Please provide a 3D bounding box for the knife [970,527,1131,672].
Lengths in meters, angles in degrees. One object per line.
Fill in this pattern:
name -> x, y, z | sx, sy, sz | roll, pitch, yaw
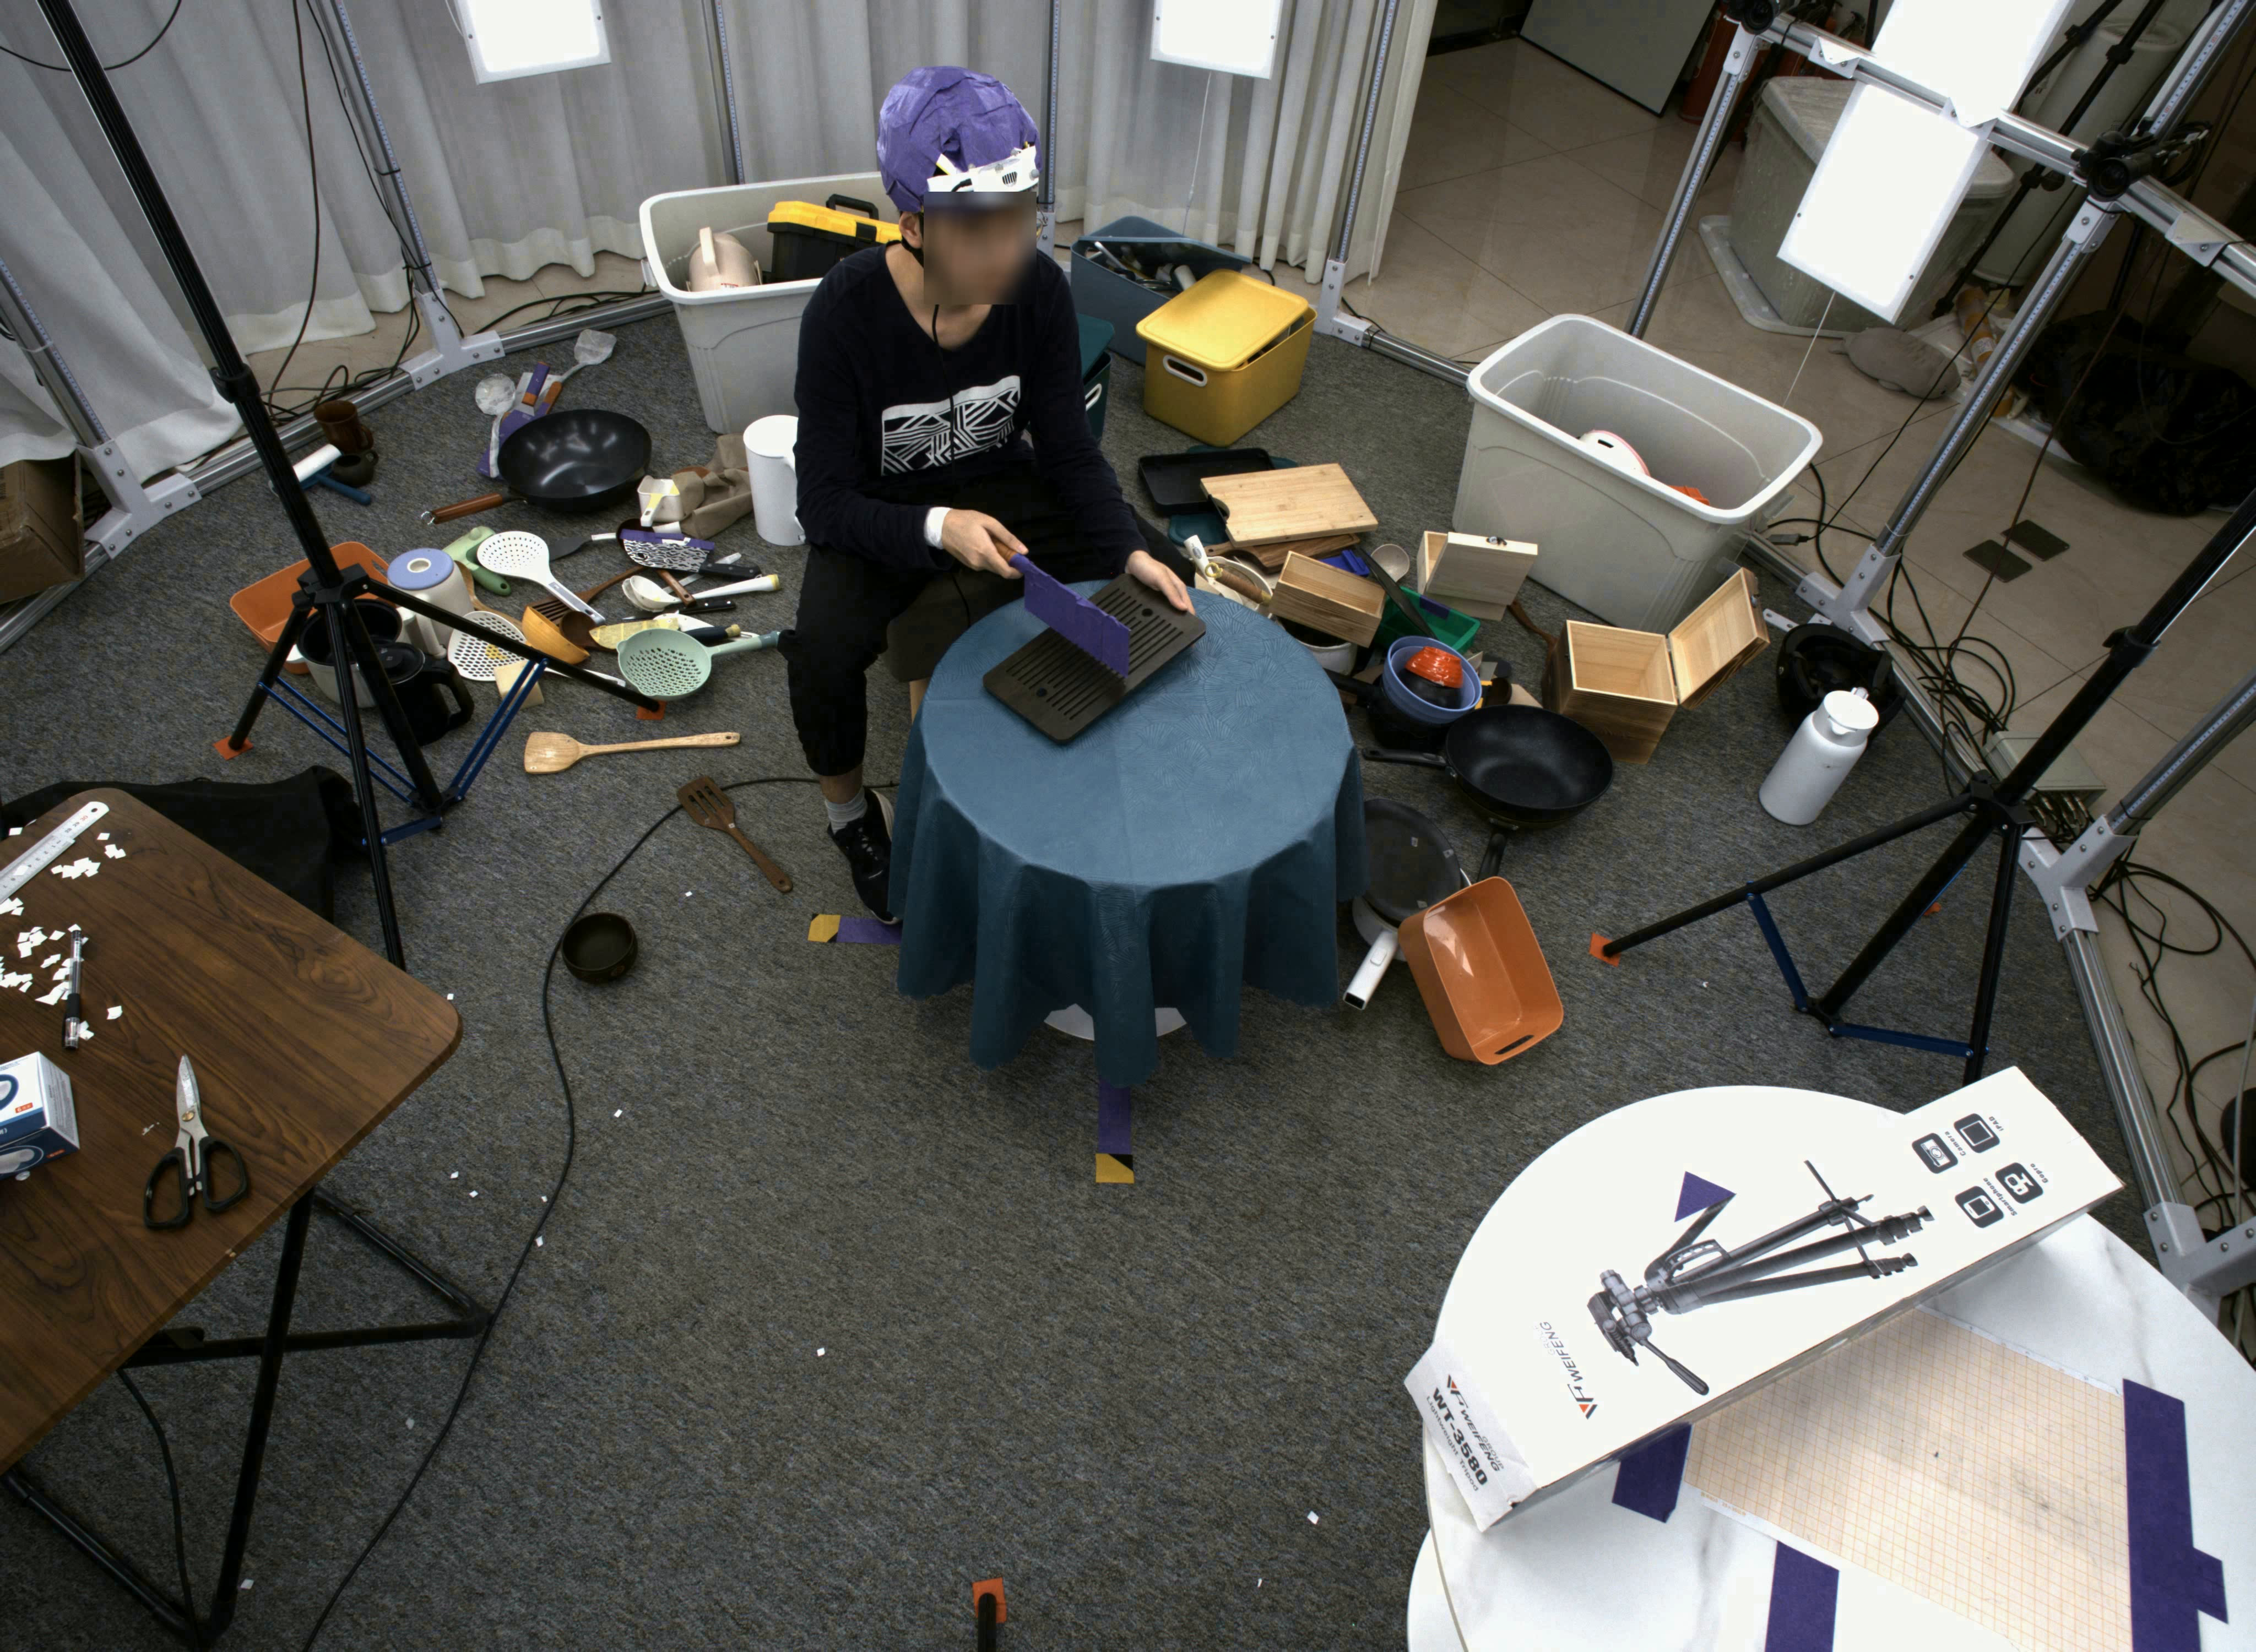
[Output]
knife -> -0.112, -0.321, 1.839 | 0.032, 0.101, 0.320 | -33, 57, -32

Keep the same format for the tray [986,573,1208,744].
tray -> -0.042, -0.244, 1.847 | 0.172, 0.018, 0.309 | 37, 62, 25
